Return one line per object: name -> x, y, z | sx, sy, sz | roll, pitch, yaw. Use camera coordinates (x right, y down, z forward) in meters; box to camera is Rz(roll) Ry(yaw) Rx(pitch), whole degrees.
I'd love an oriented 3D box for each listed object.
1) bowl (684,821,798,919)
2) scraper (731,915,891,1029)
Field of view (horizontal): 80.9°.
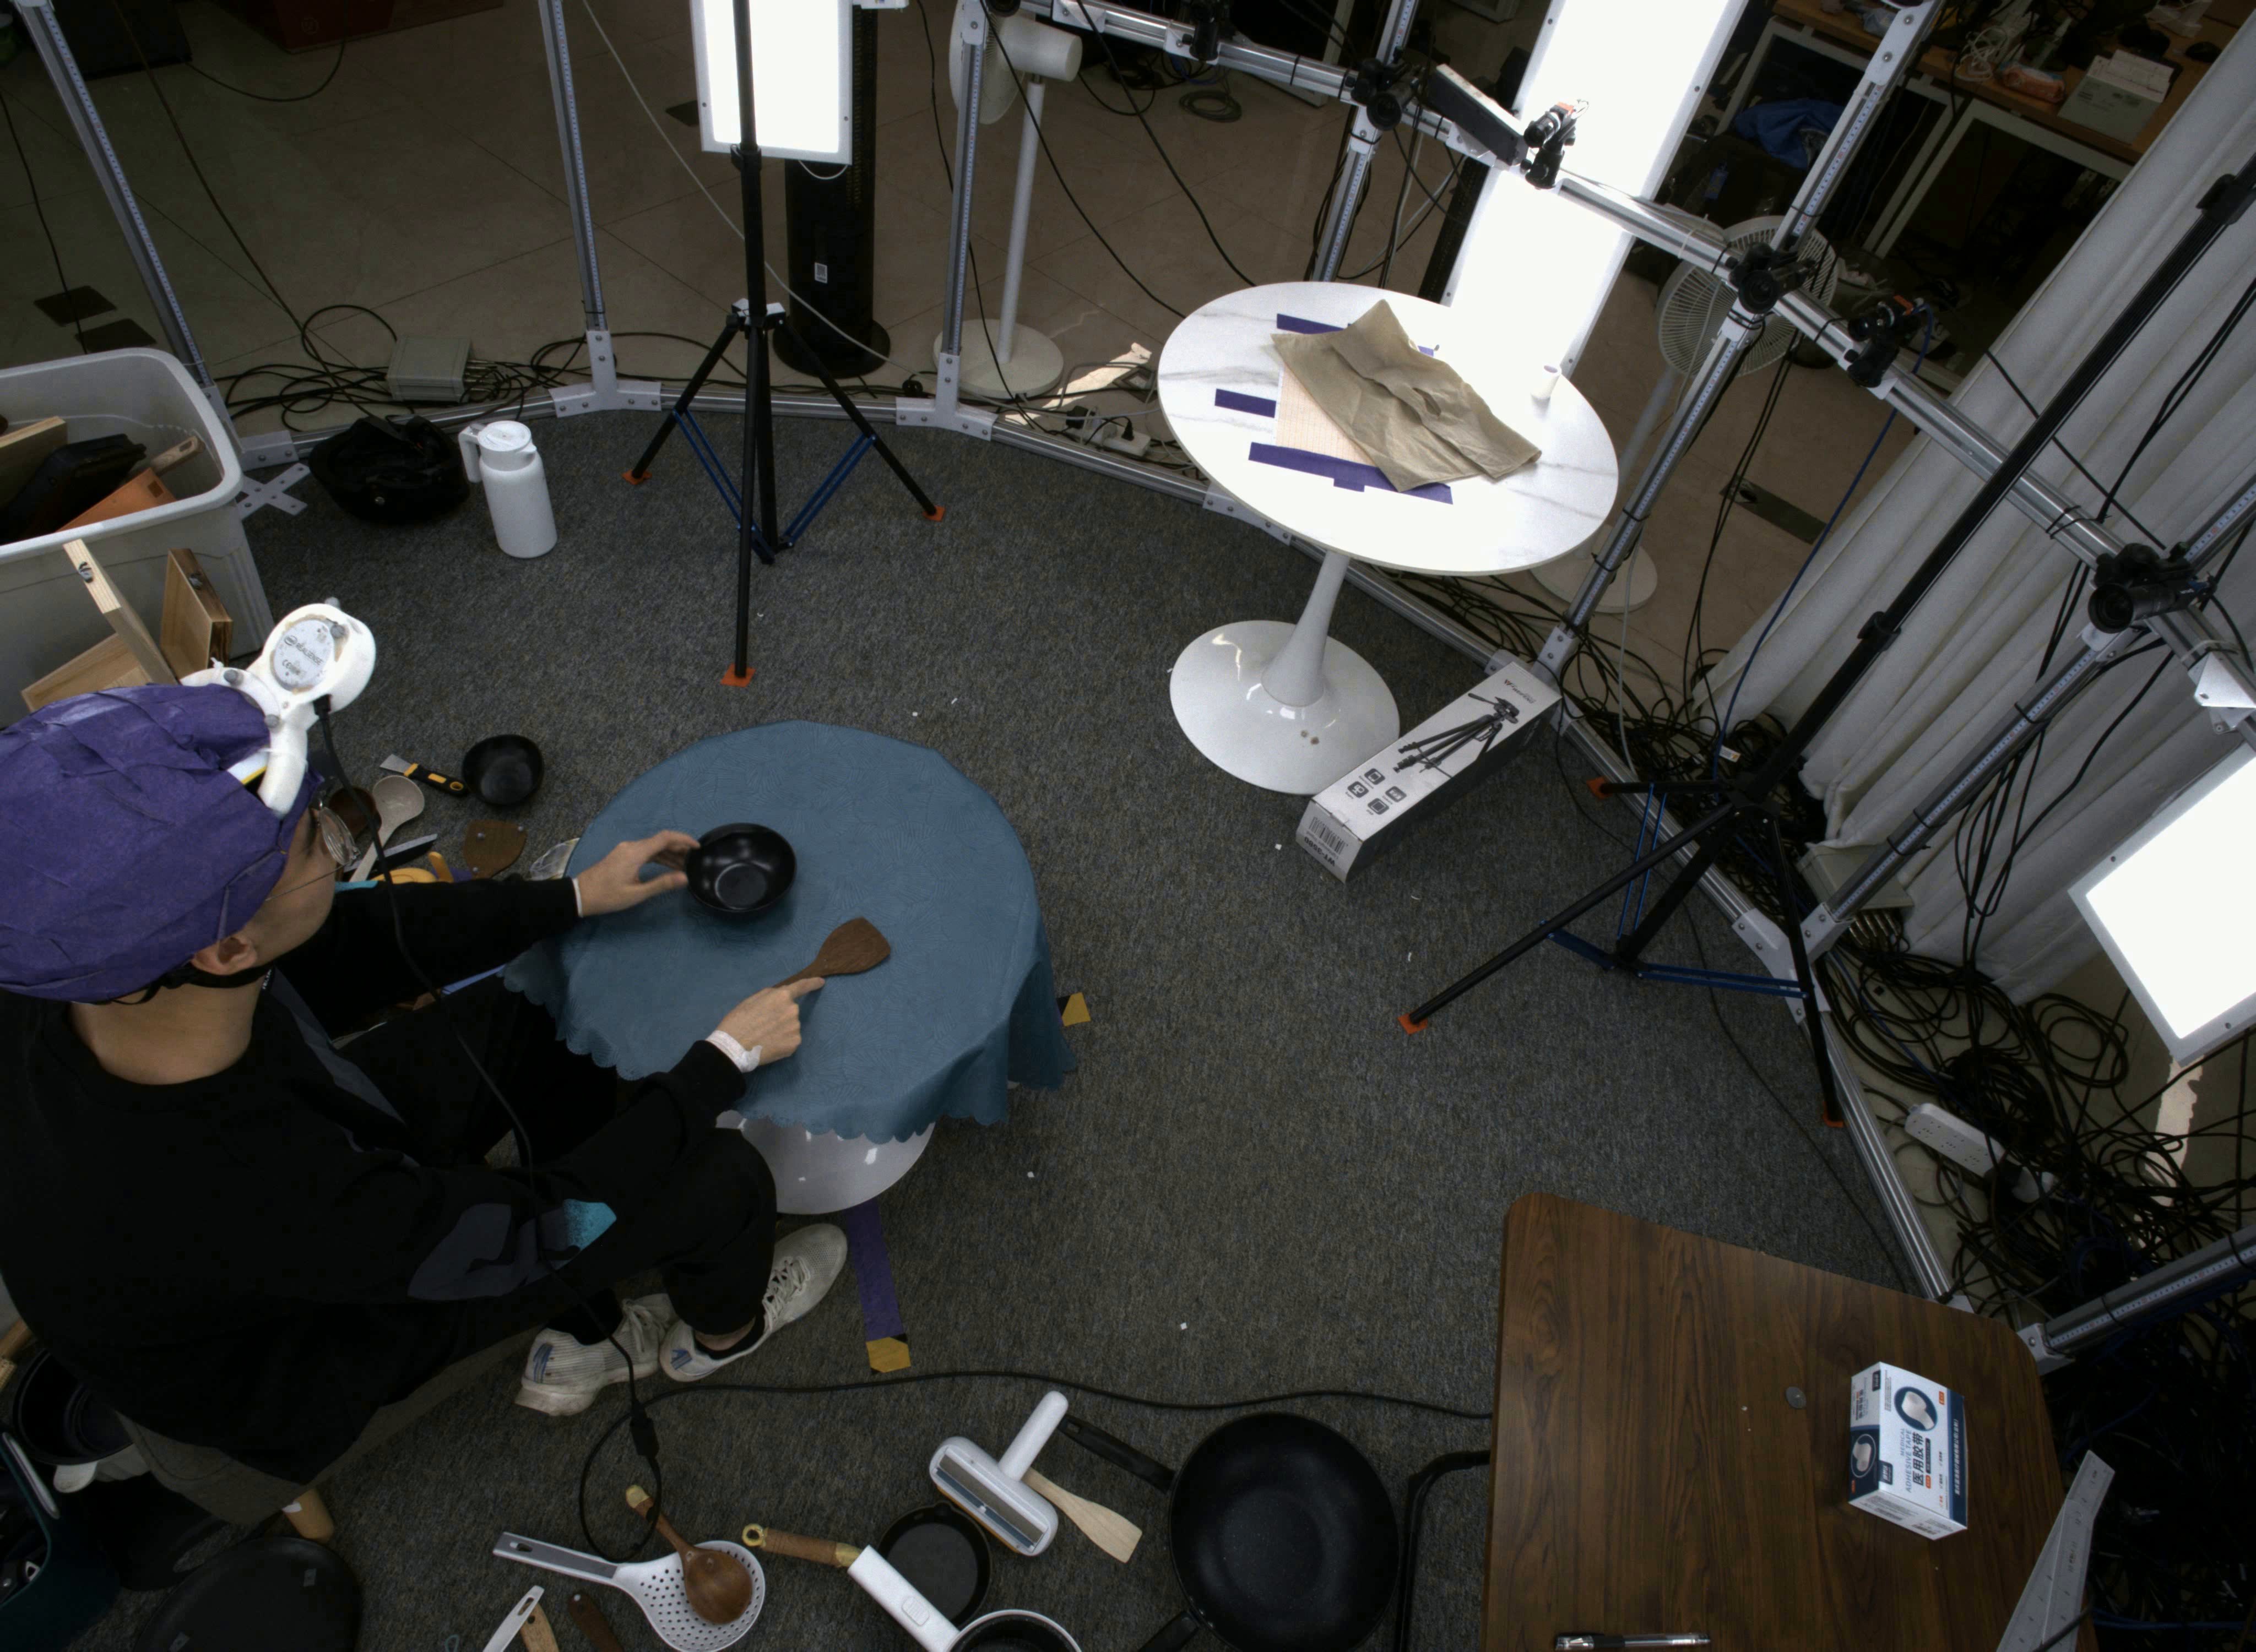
bowl -> -0.488, 0.062, 1.634 | 0.140, 0.050, 0.137 | 9, 54, -11
scraper -> -0.393, 0.182, 1.596 | 0.212, 0.011, 0.074 | -33, 66, -31
